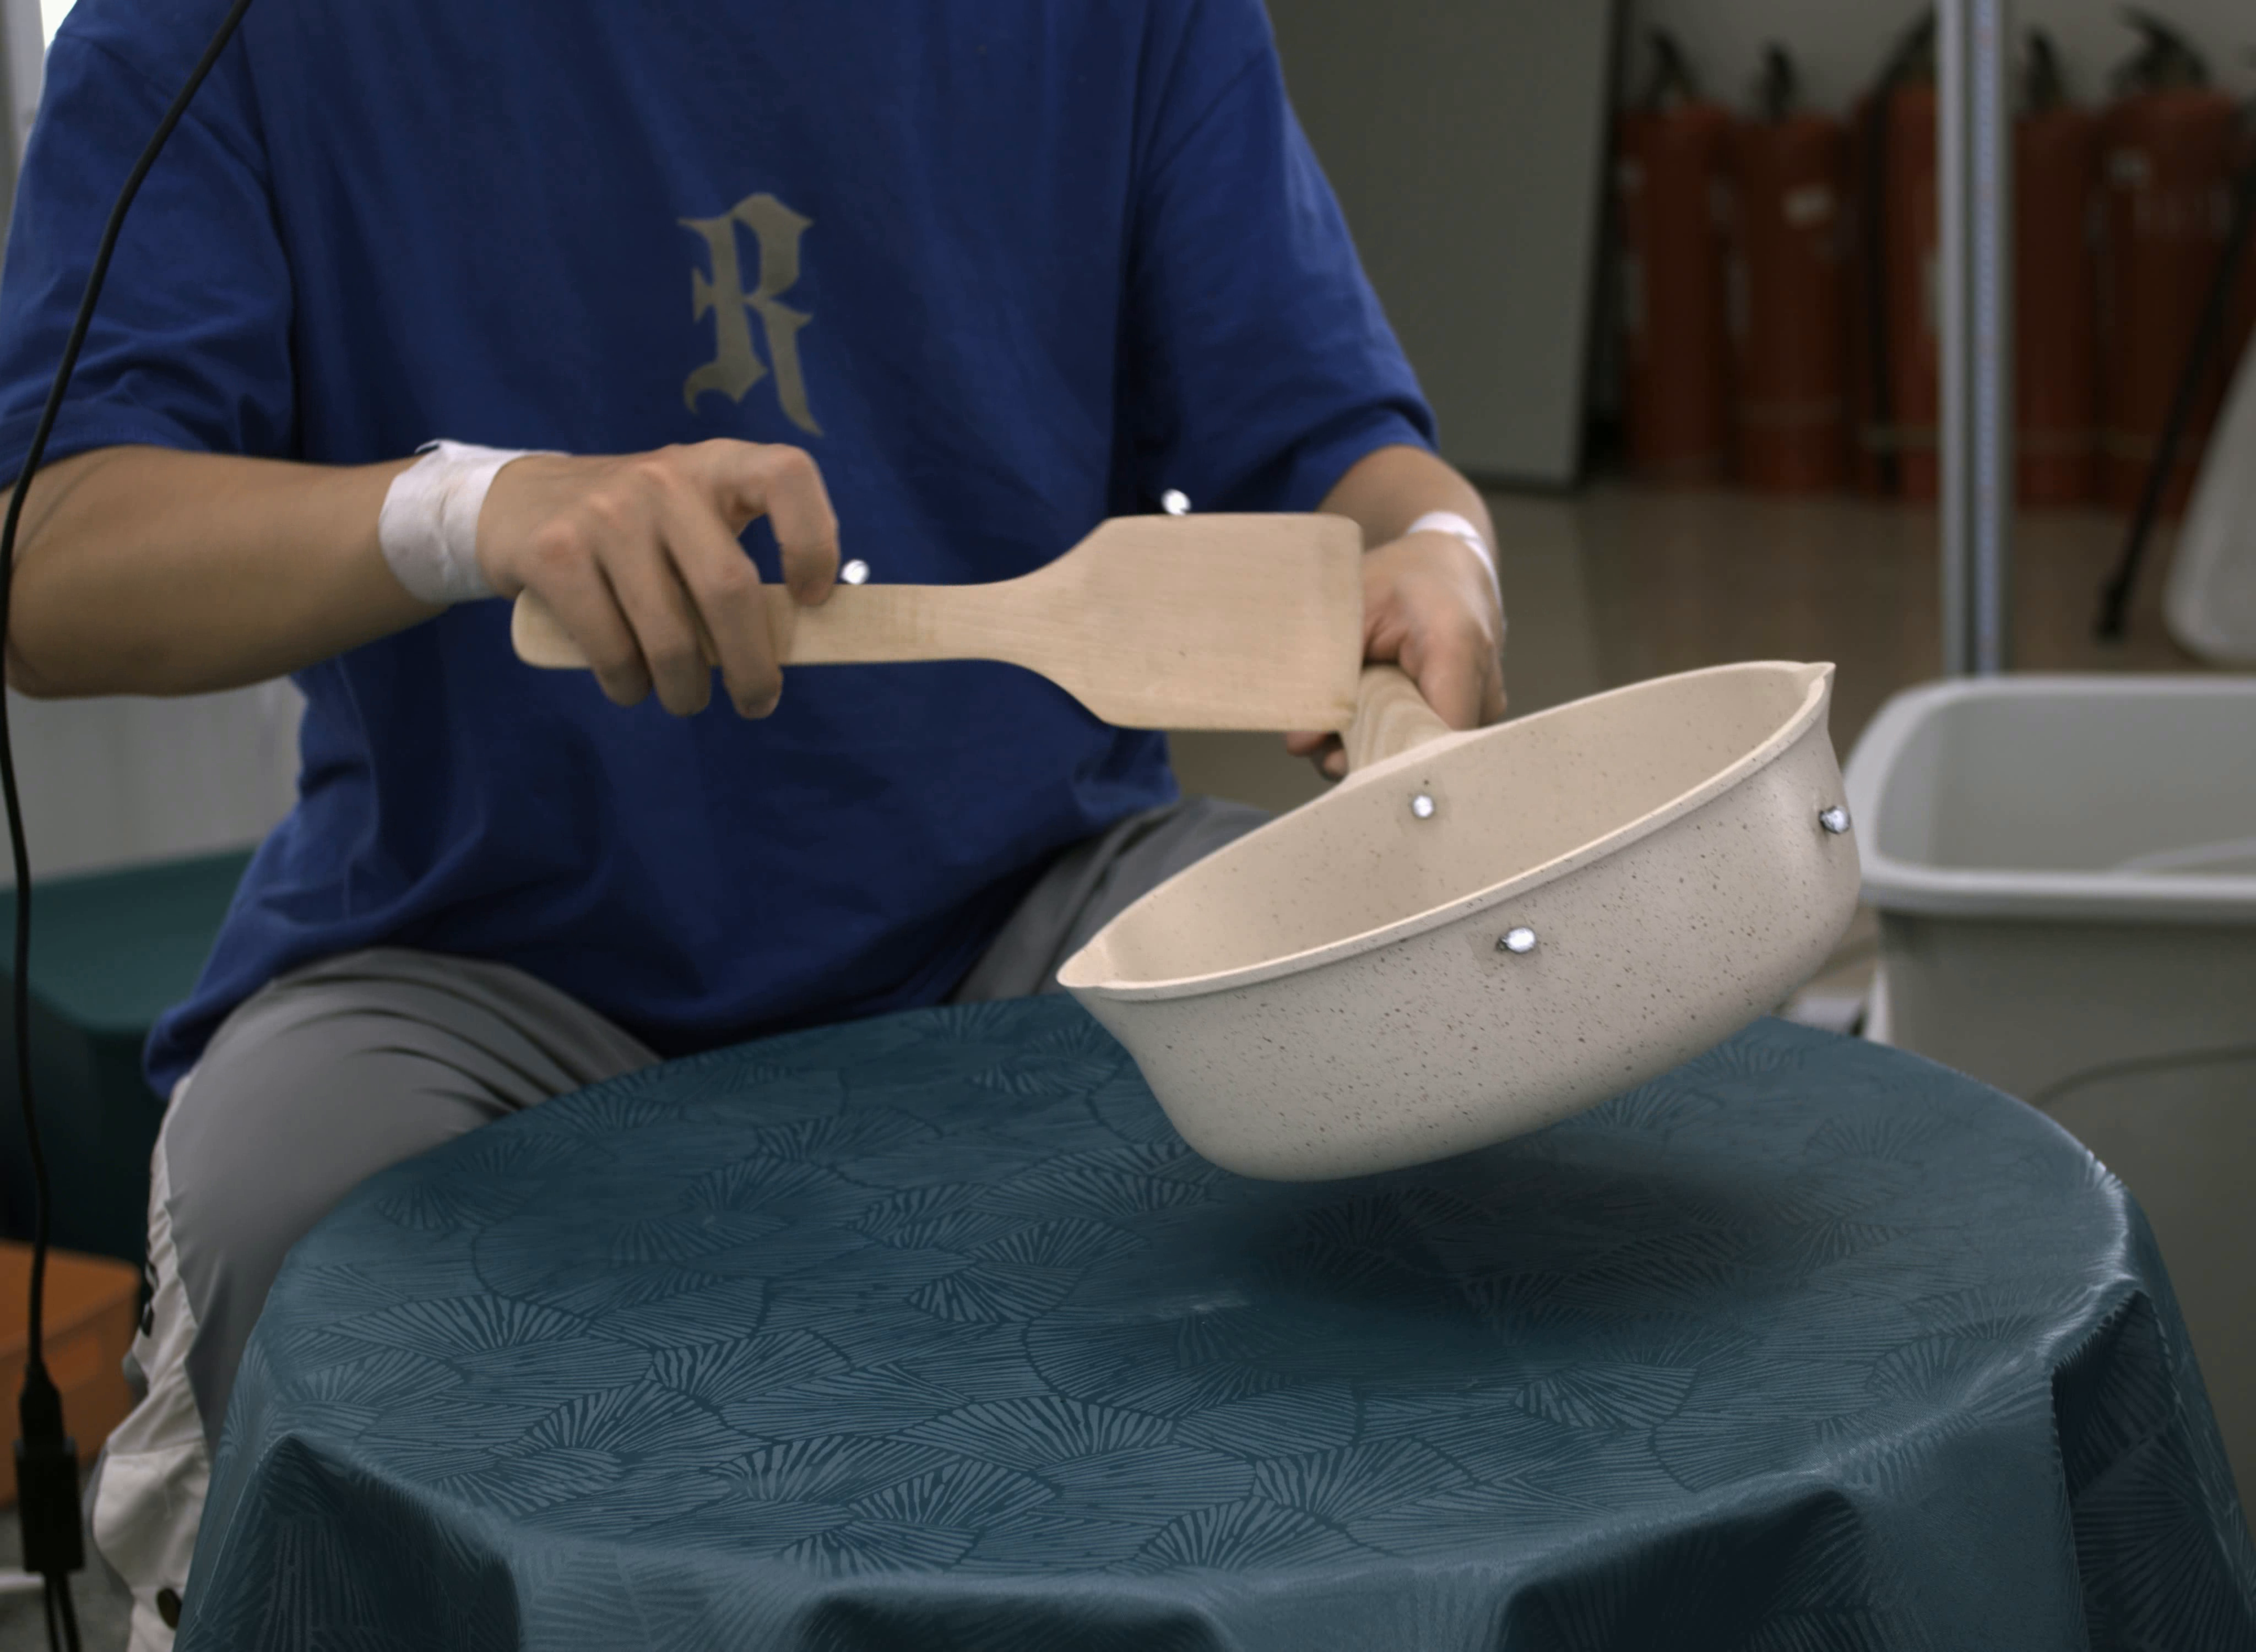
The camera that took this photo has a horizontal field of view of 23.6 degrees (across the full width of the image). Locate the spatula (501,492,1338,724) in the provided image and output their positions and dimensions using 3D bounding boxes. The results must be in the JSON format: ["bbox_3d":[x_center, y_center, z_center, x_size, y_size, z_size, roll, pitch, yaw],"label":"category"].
[{"bbox_3d":[-0.071,-0.067,1.746,0.292,0.073,0.010,-1,-4,21],"label":"spatula"}]

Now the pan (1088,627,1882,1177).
[{"bbox_3d":[0.111,0.011,1.771,0.261,0.102,0.436,-25,8,0],"label":"pan"}]
